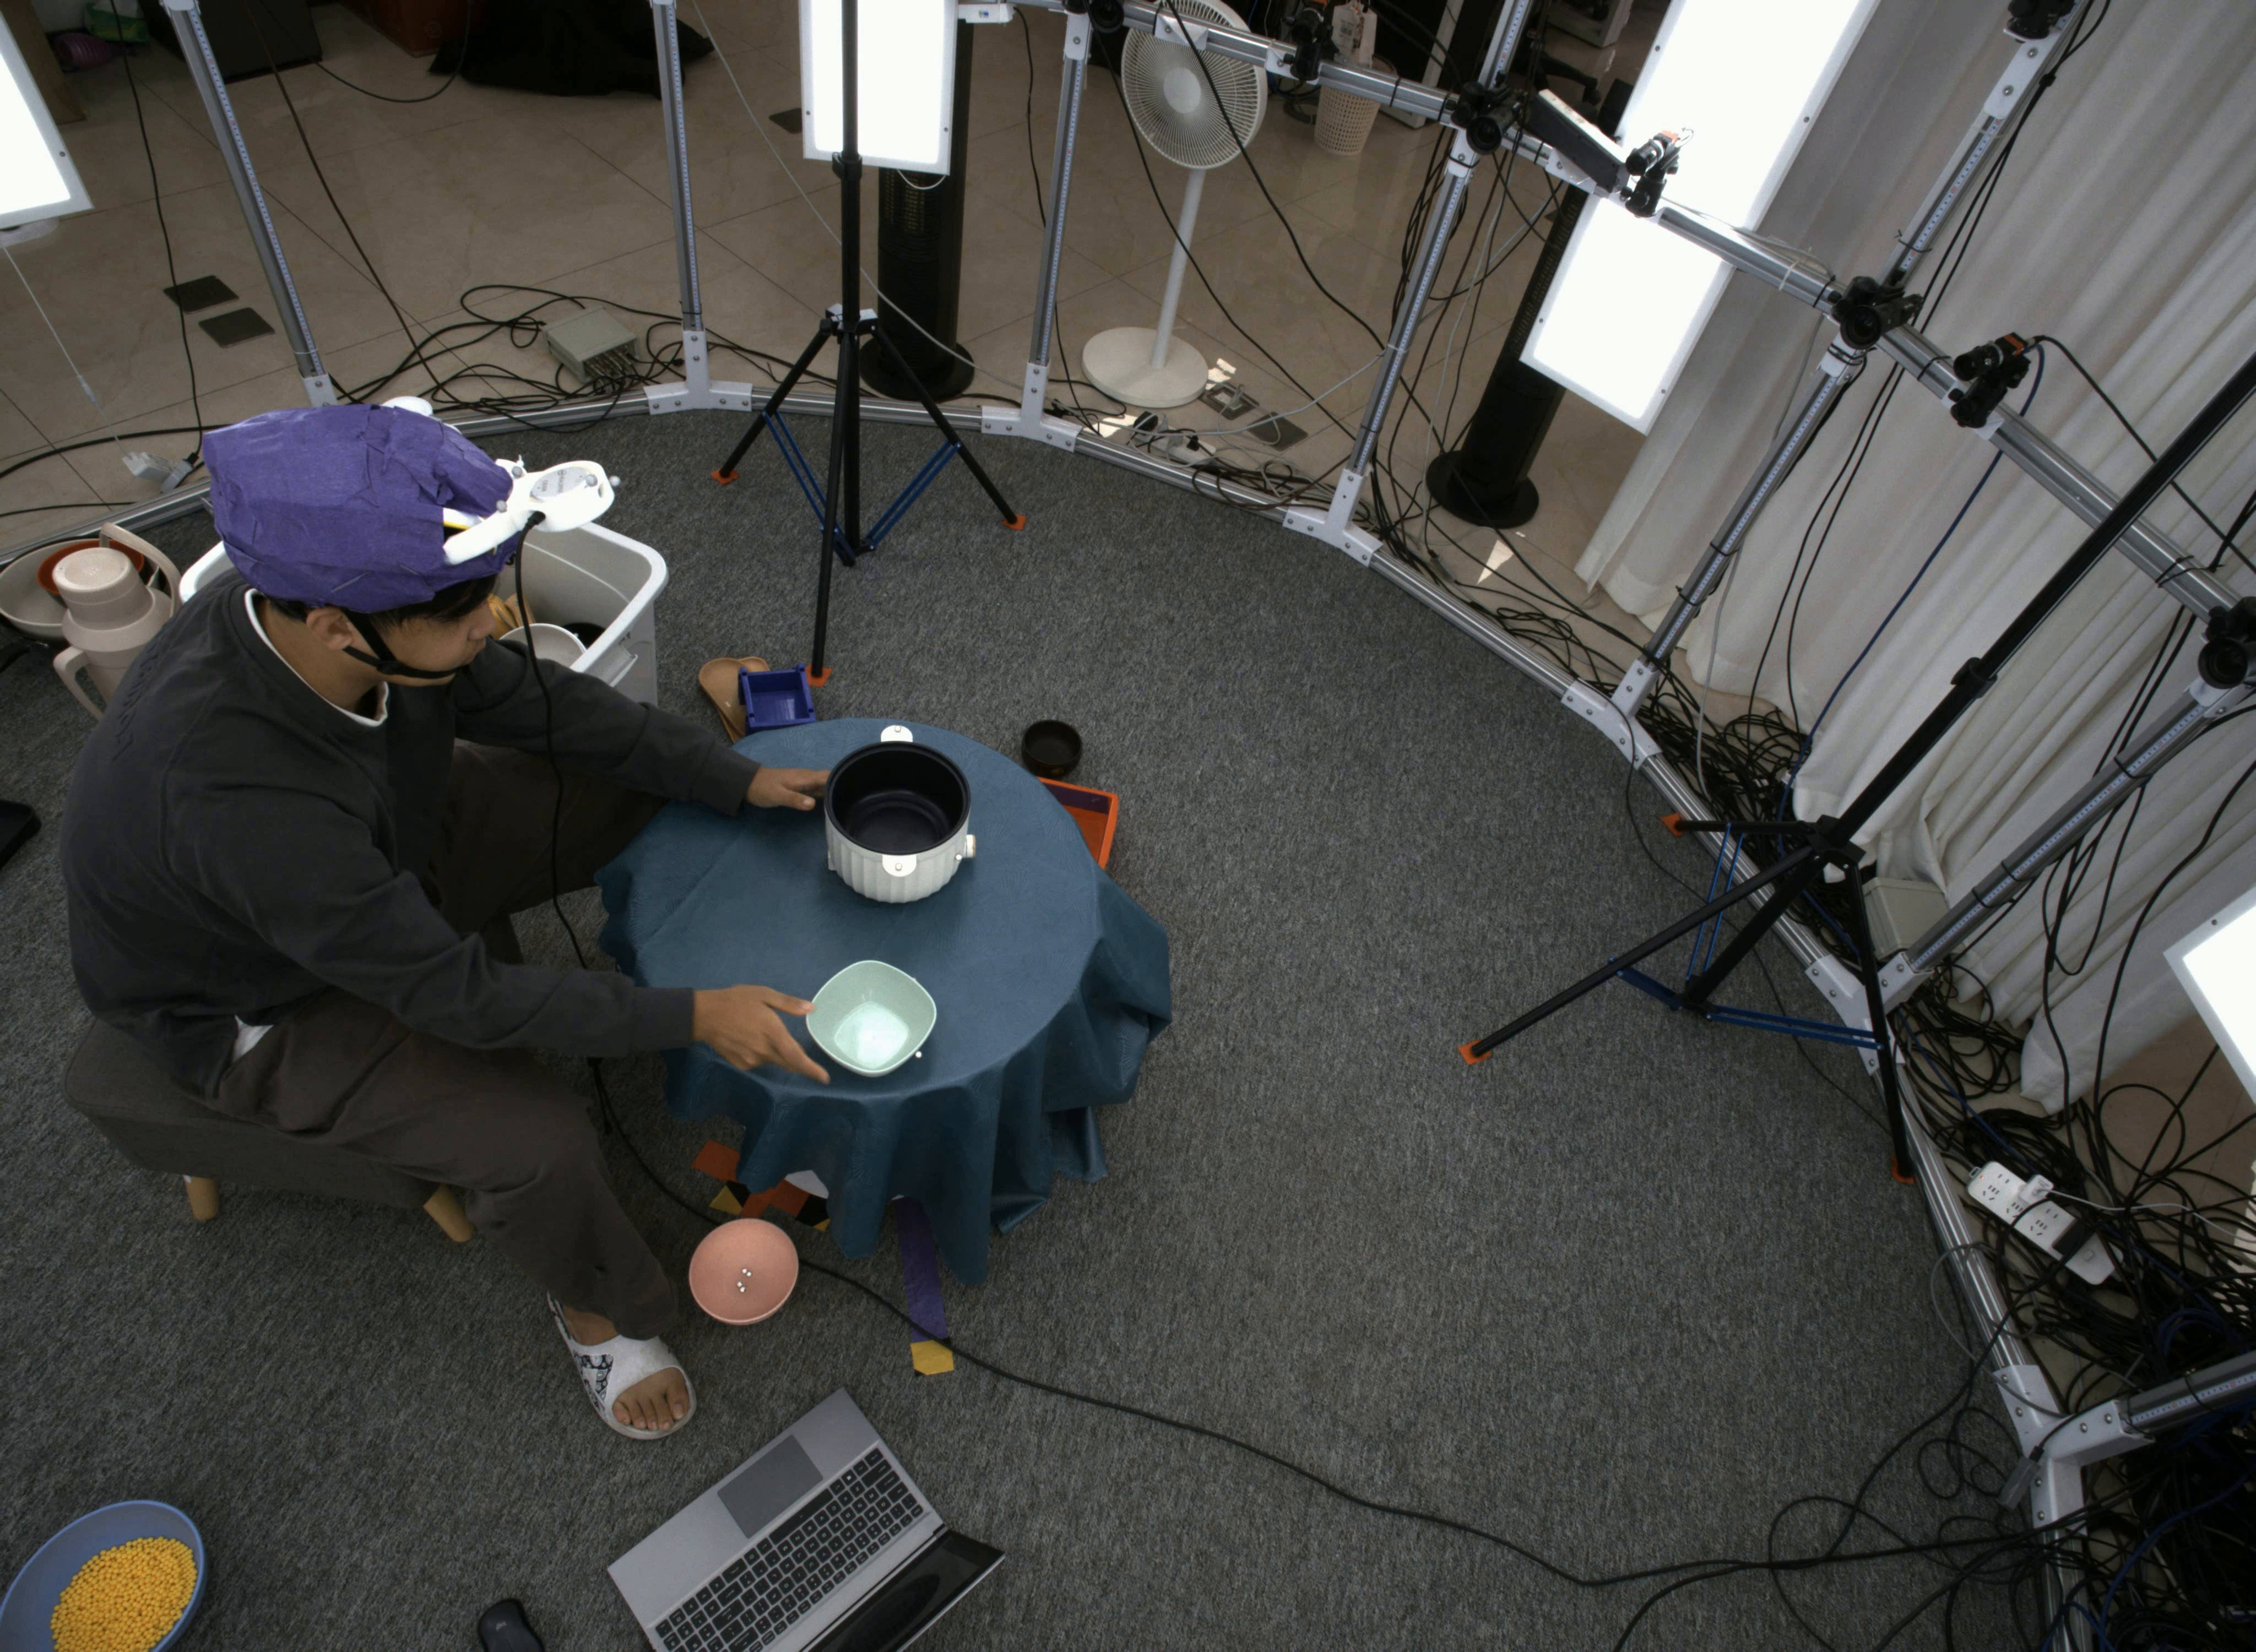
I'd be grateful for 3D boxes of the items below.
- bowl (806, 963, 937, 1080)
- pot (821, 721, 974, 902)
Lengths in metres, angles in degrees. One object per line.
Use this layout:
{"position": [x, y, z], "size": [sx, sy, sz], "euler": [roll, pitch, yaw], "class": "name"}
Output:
{"position": [-0.303, 0.238, 1.536], "size": [0.151, 0.060, 0.148], "euler": [8, 51, -9], "class": "bowl"}
{"position": [-0.292, -0.003, 1.664], "size": [0.190, 0.146, 0.235], "euler": [-3, 56, -11], "class": "pot"}
